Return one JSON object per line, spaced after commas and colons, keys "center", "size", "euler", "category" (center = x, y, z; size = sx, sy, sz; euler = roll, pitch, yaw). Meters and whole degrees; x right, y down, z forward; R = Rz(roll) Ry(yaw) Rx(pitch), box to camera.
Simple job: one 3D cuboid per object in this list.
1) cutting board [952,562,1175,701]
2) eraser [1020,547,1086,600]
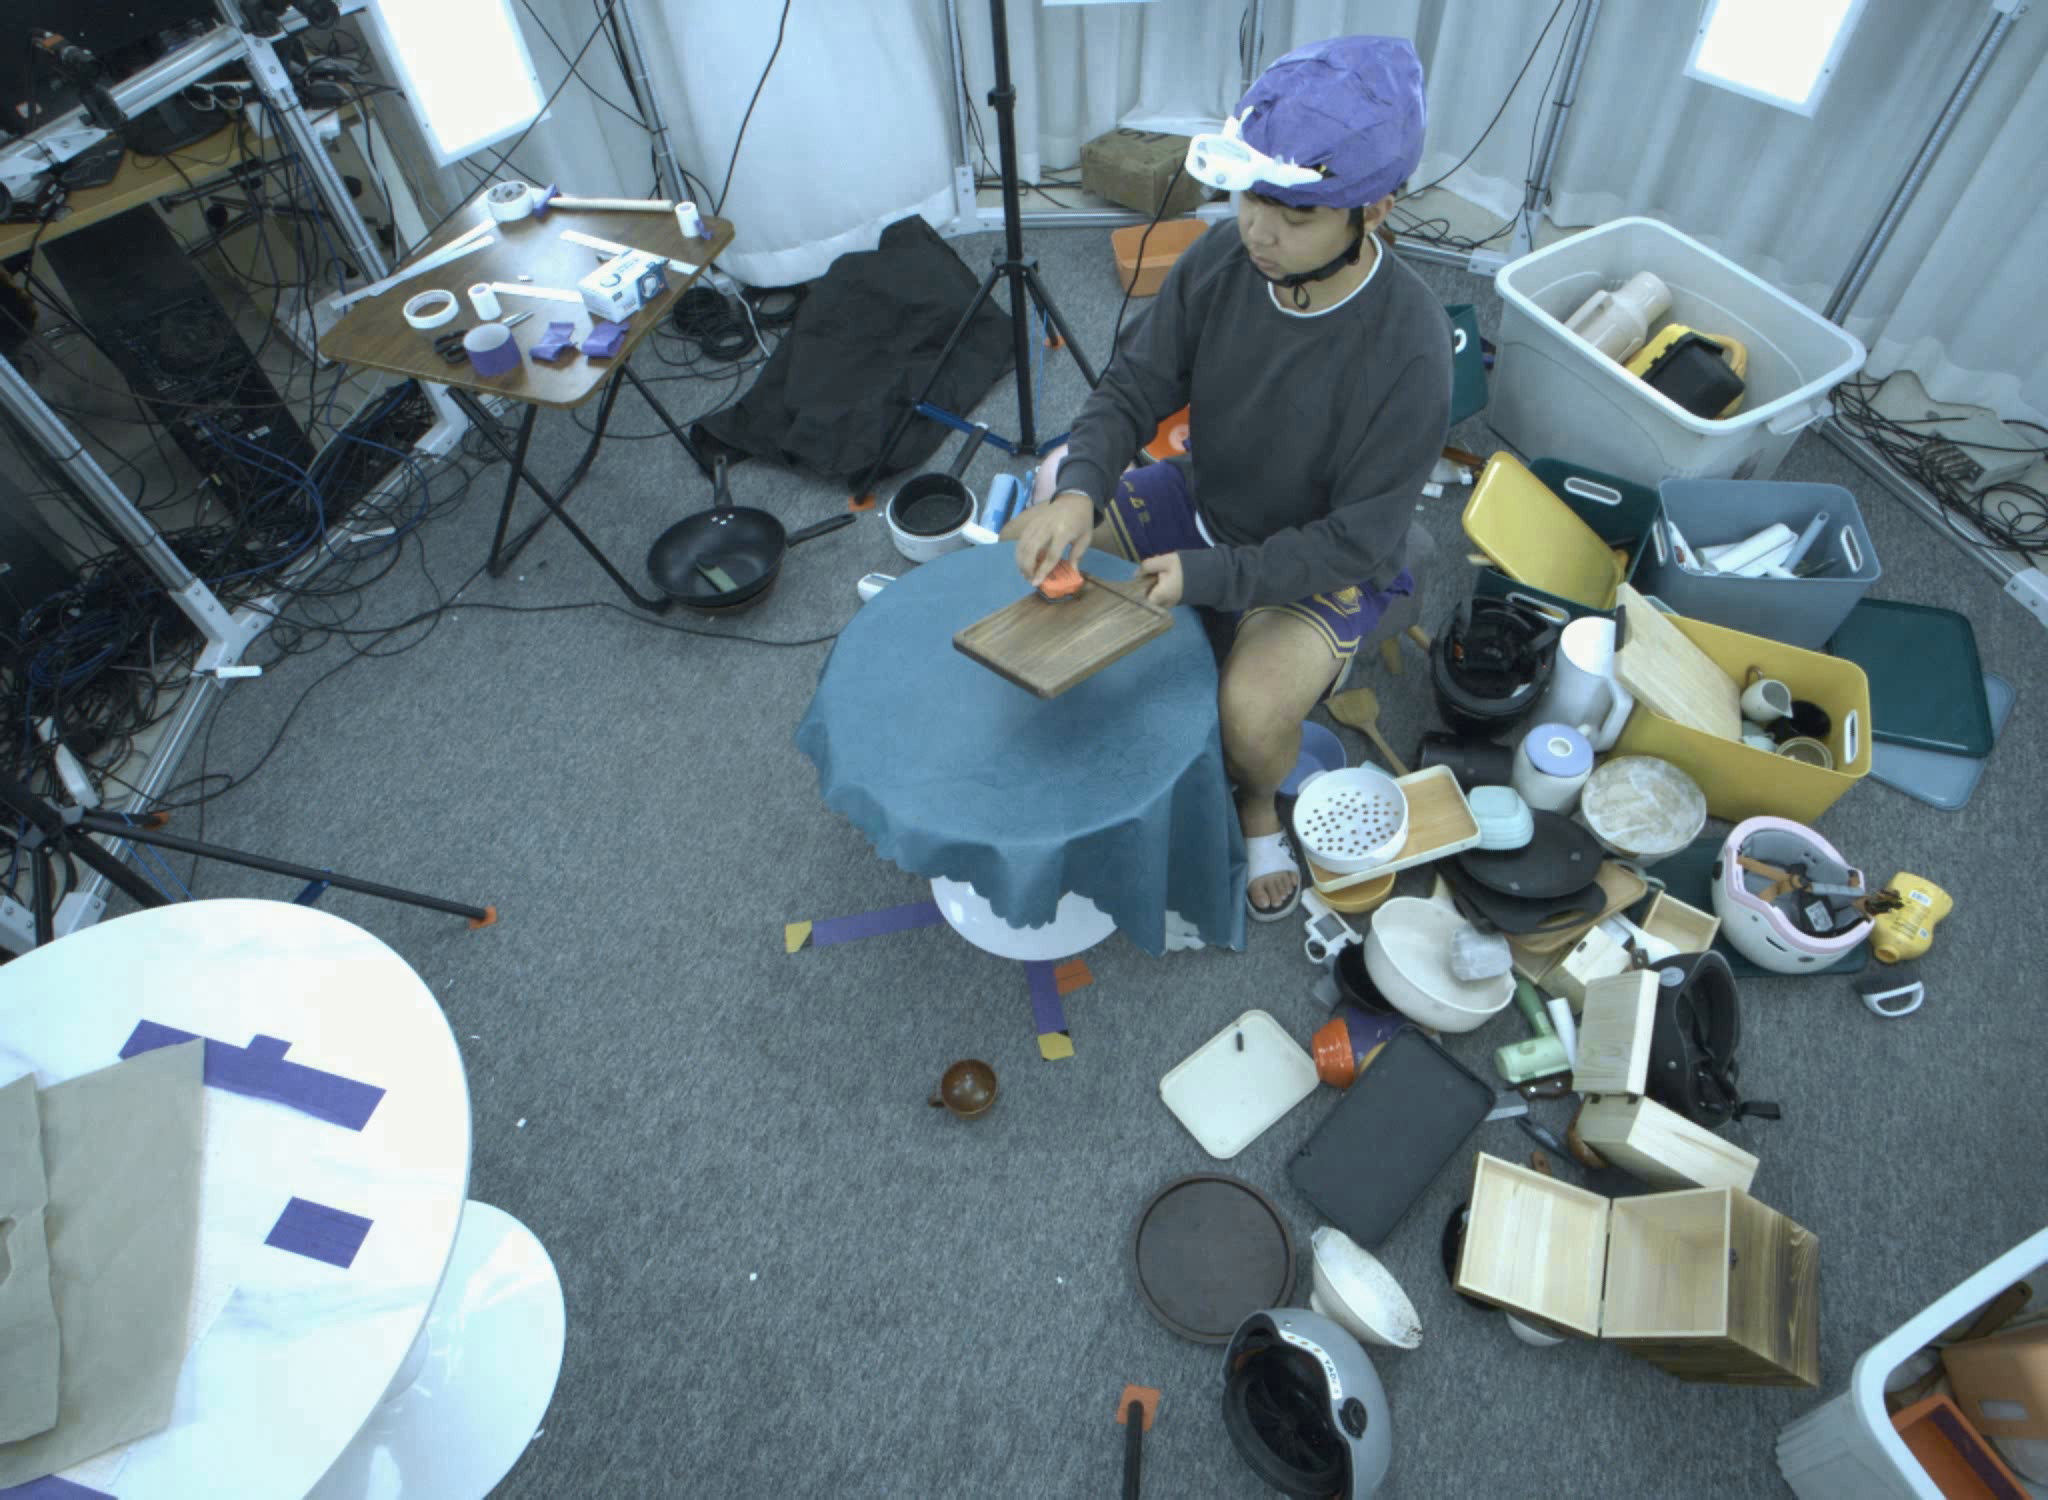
{"center": [0.090, -0.187, 1.729], "size": [0.356, 0.023, 0.196], "euler": [-32, 47, -32], "category": "cutting board"}
{"center": [0.041, -0.257, 1.779], "size": [0.059, 0.023, 0.105], "euler": [-20, 43, -22], "category": "eraser"}
